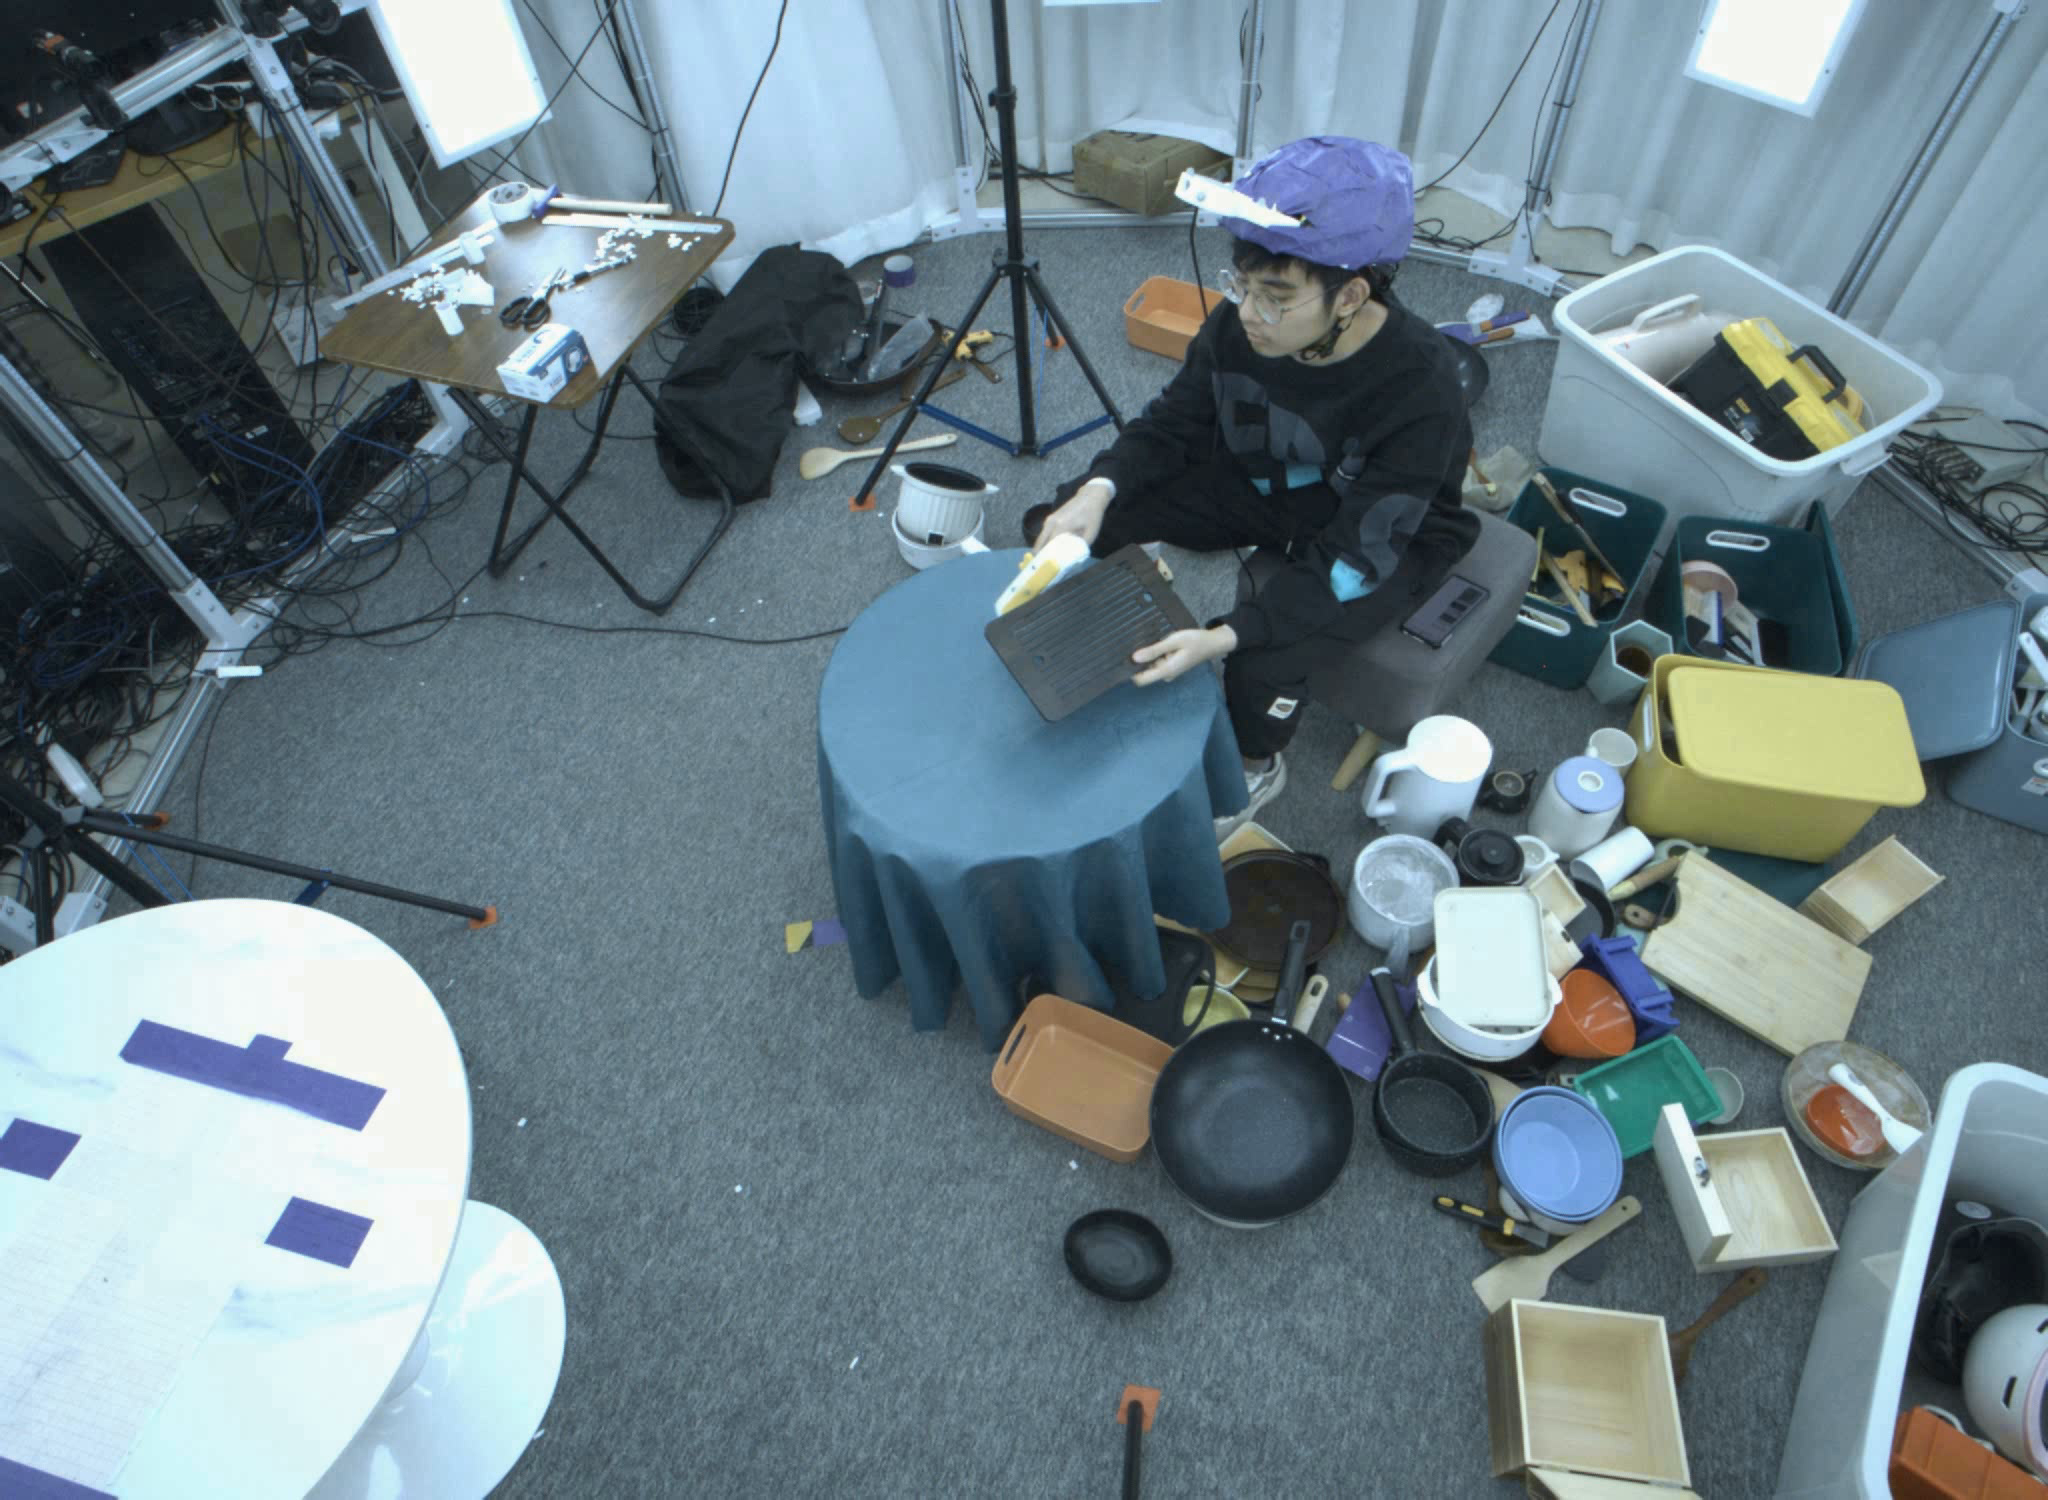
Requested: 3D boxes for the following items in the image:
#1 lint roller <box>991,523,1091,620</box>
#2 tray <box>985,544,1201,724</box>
[{"bbox_3d":[0.042,-0.283,1.836,0.074,0.191,0.193,43,40,0],"label":"lint roller"},{"bbox_3d":[0.102,-0.170,1.766,0.309,0.018,0.169,-32,85,-28],"label":"tray"}]
